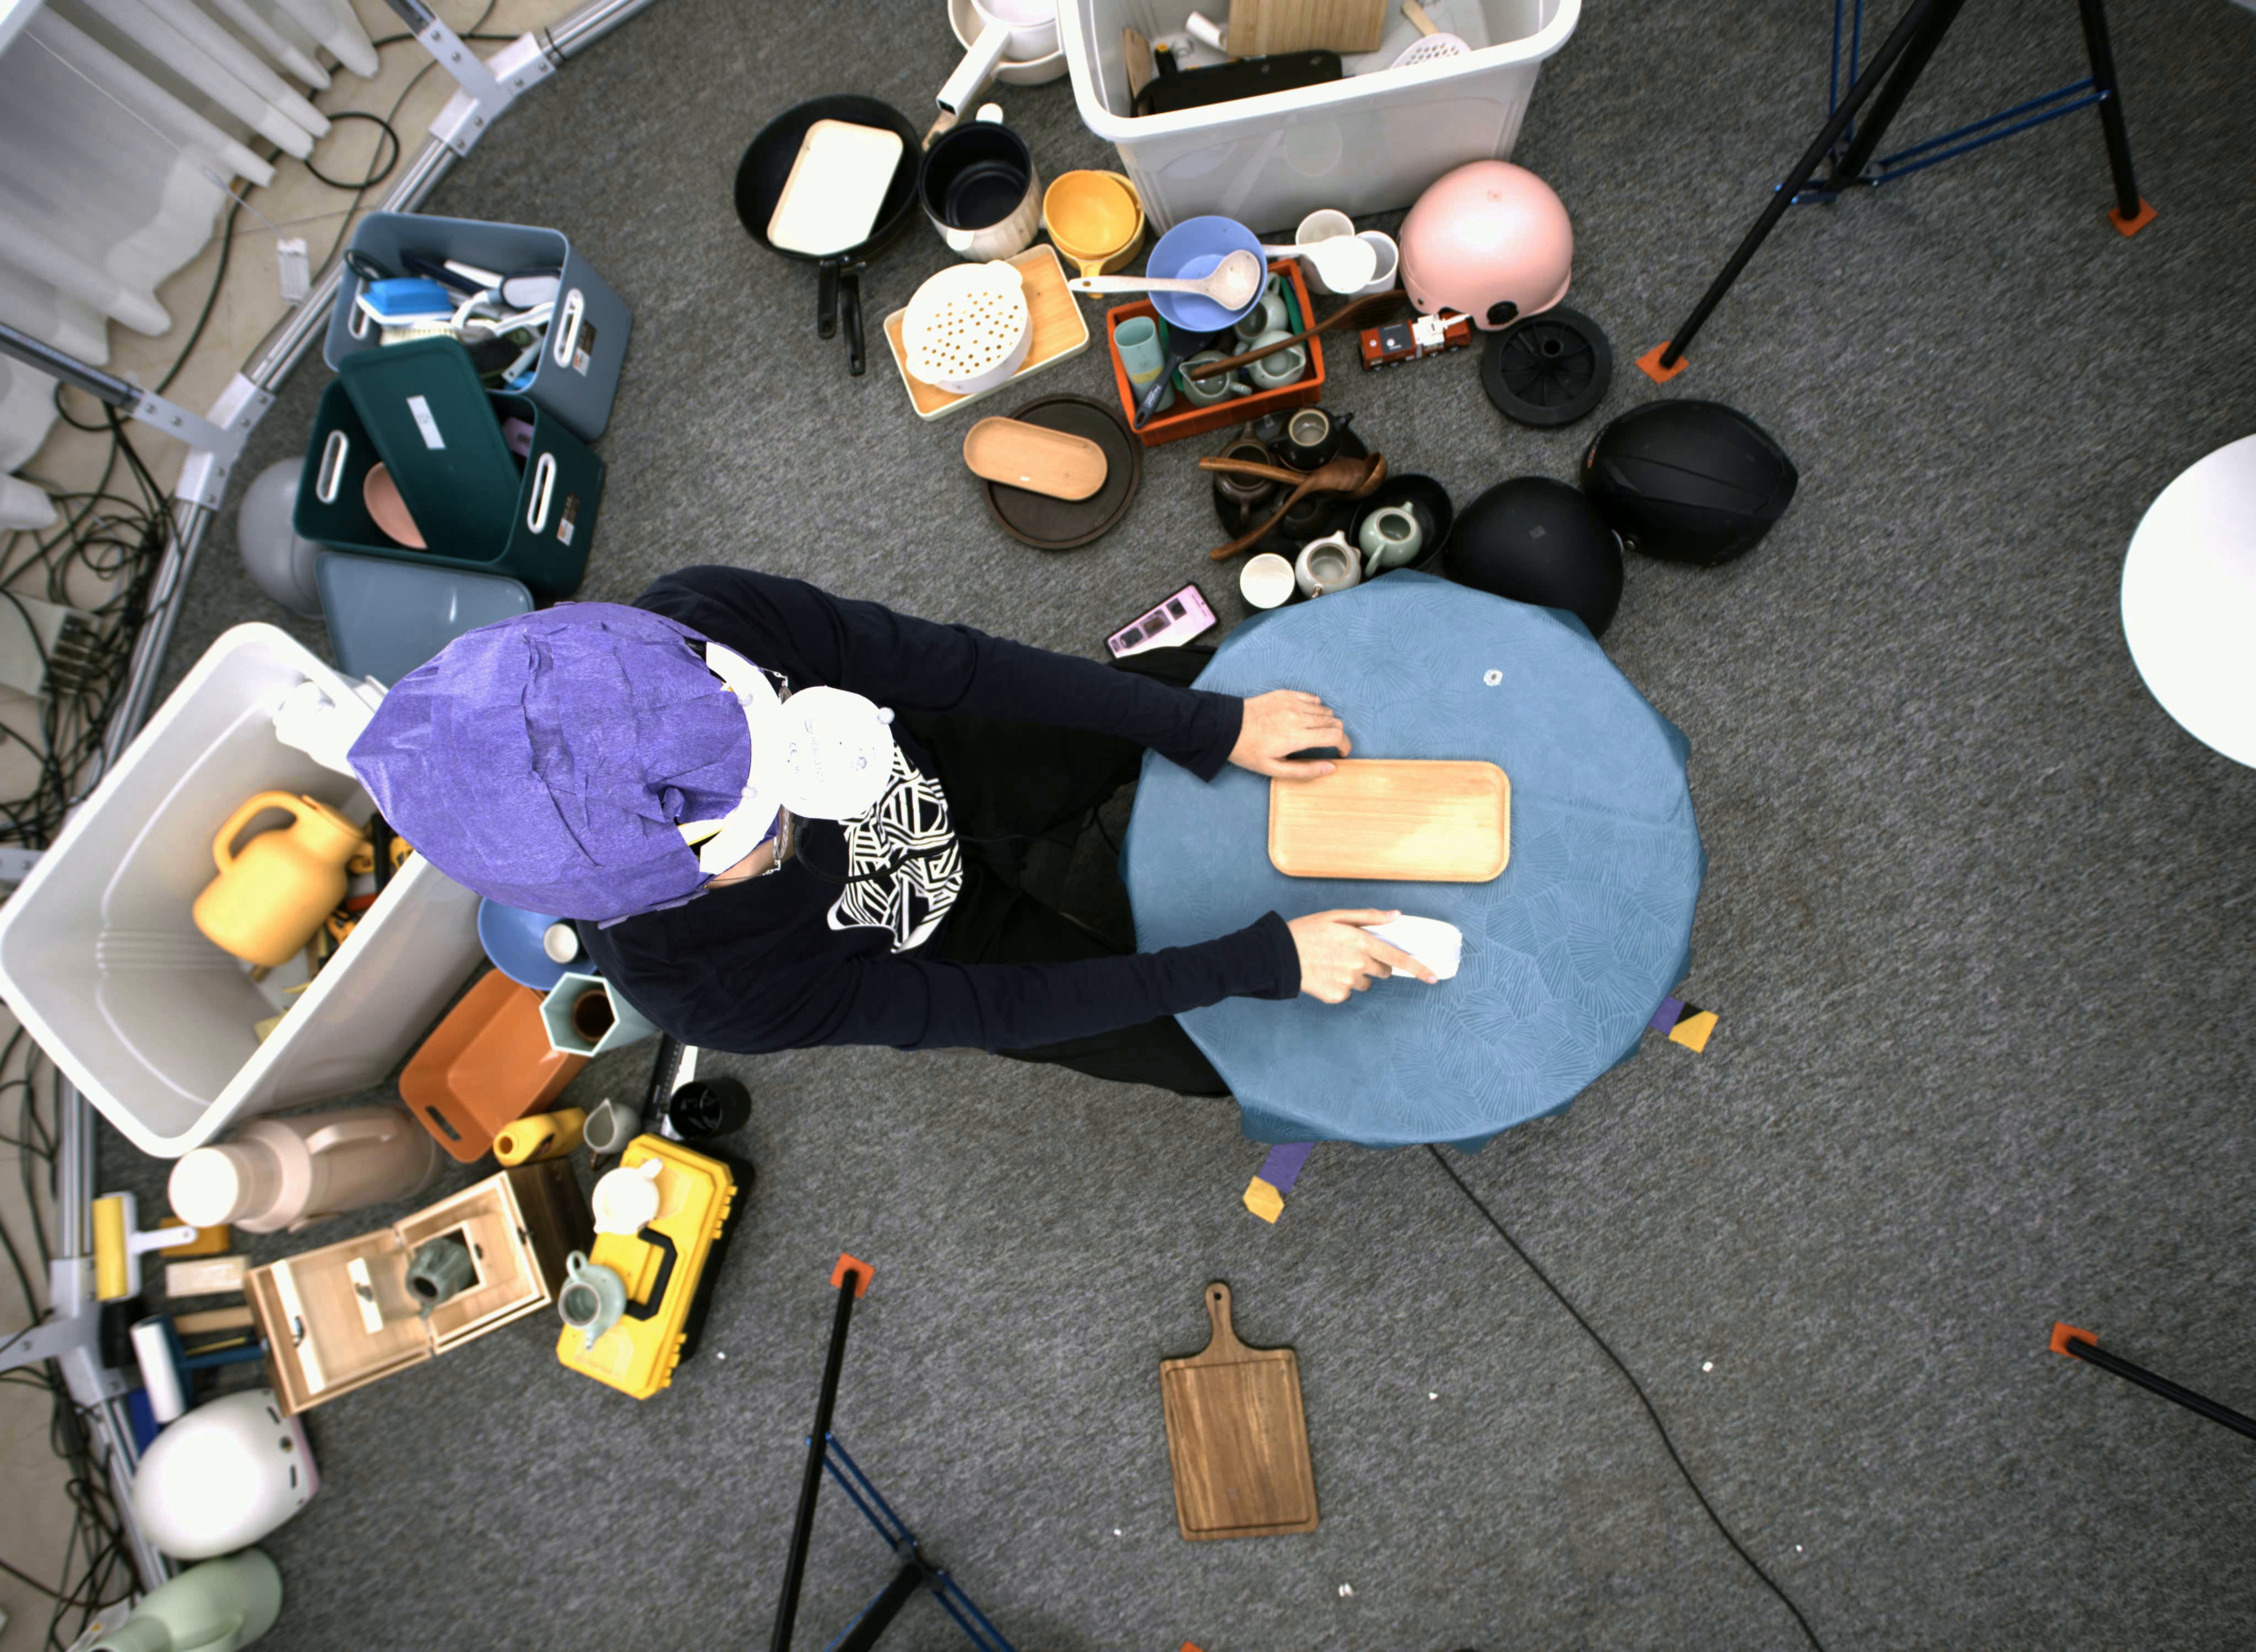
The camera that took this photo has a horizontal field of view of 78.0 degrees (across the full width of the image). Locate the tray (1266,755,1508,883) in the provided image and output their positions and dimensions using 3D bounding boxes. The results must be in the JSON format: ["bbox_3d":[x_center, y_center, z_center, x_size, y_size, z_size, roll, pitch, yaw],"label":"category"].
[{"bbox_3d":[0.272,-0.009,1.454,0.251,0.023,0.130,2,85,12],"label":"tray"}]

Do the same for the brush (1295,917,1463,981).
[{"bbox_3d":[0.254,0.120,1.413,0.176,0.094,0.061,7,86,13],"label":"brush"}]
